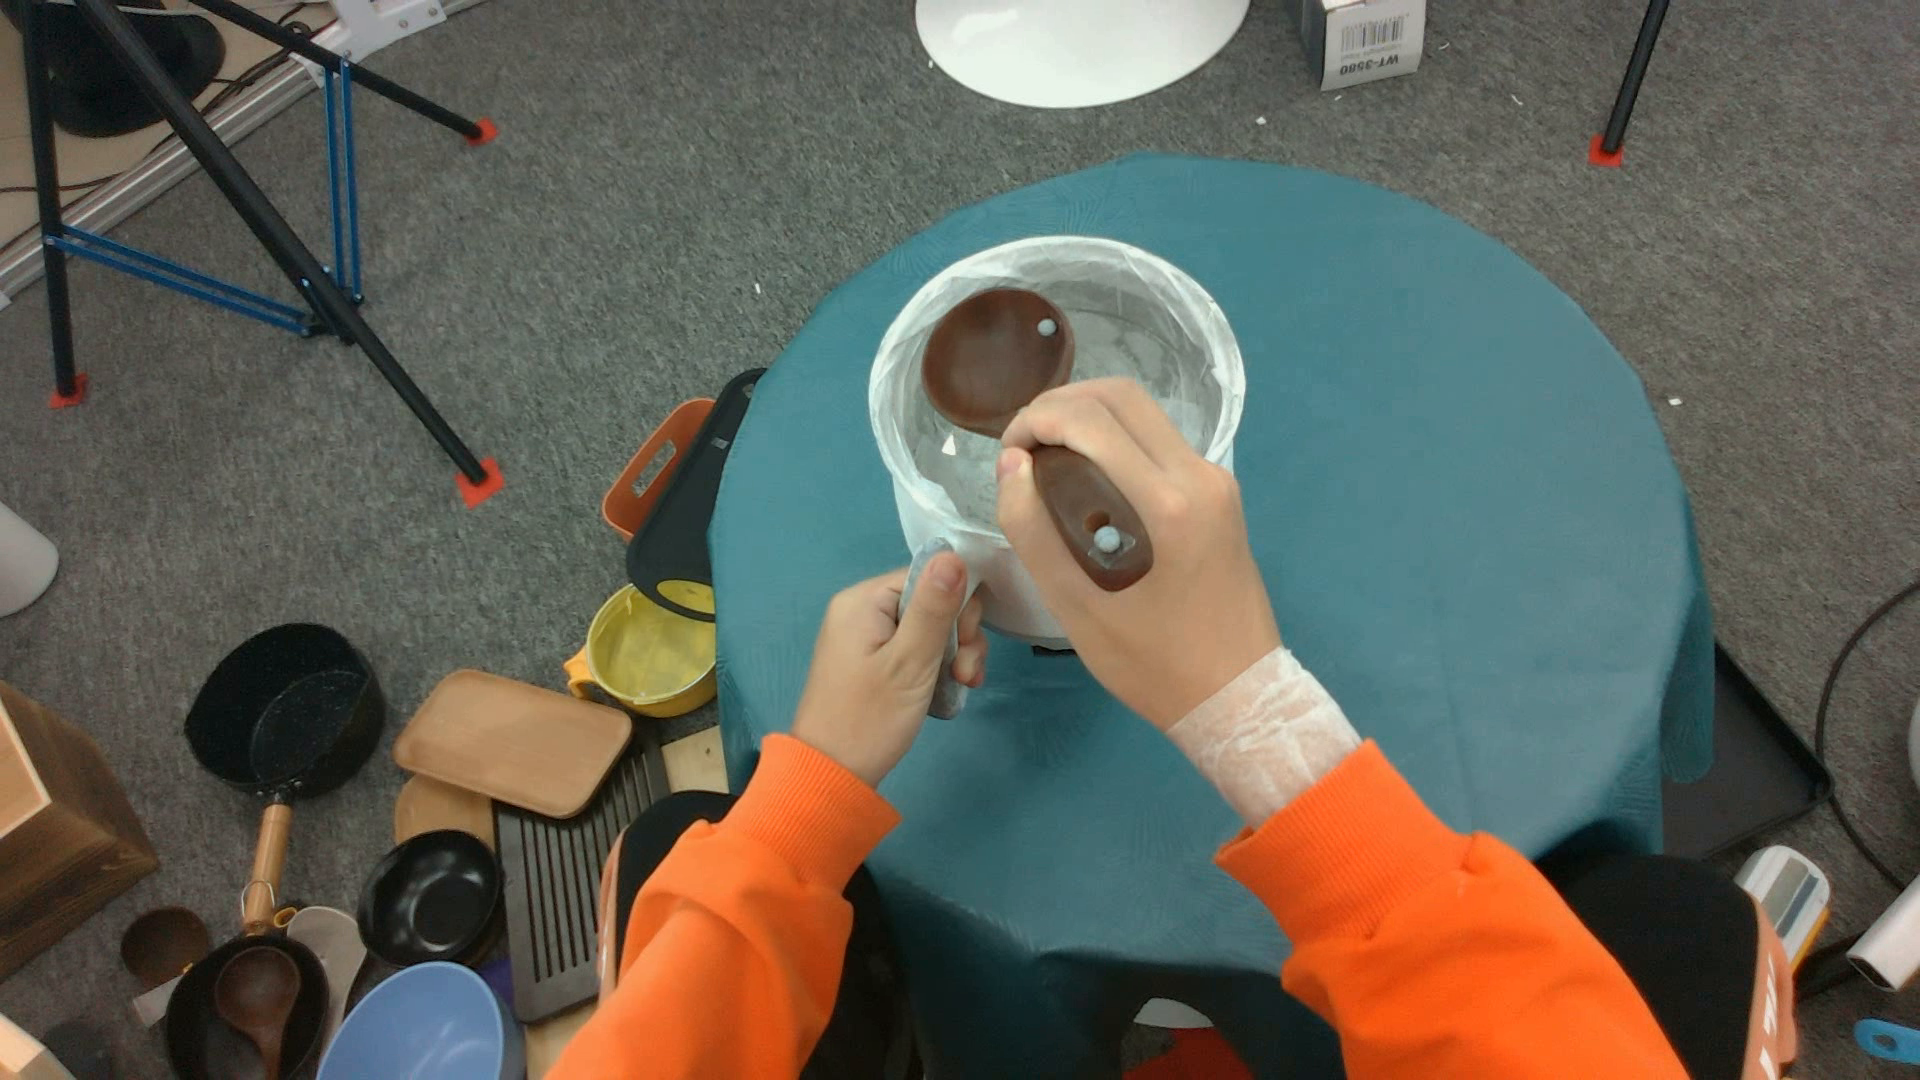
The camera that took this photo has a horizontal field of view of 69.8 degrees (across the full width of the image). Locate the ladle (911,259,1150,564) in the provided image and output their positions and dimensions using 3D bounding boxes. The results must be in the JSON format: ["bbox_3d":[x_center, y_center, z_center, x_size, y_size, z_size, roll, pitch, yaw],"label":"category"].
[{"bbox_3d":[0.024,-0.060,0.549,0.076,0.065,0.261,-39,19,8],"label":"ladle"}]

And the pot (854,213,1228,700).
[{"bbox_3d":[0.030,-0.034,0.693,0.178,0.136,0.234,24,68,18],"label":"pot"}]
